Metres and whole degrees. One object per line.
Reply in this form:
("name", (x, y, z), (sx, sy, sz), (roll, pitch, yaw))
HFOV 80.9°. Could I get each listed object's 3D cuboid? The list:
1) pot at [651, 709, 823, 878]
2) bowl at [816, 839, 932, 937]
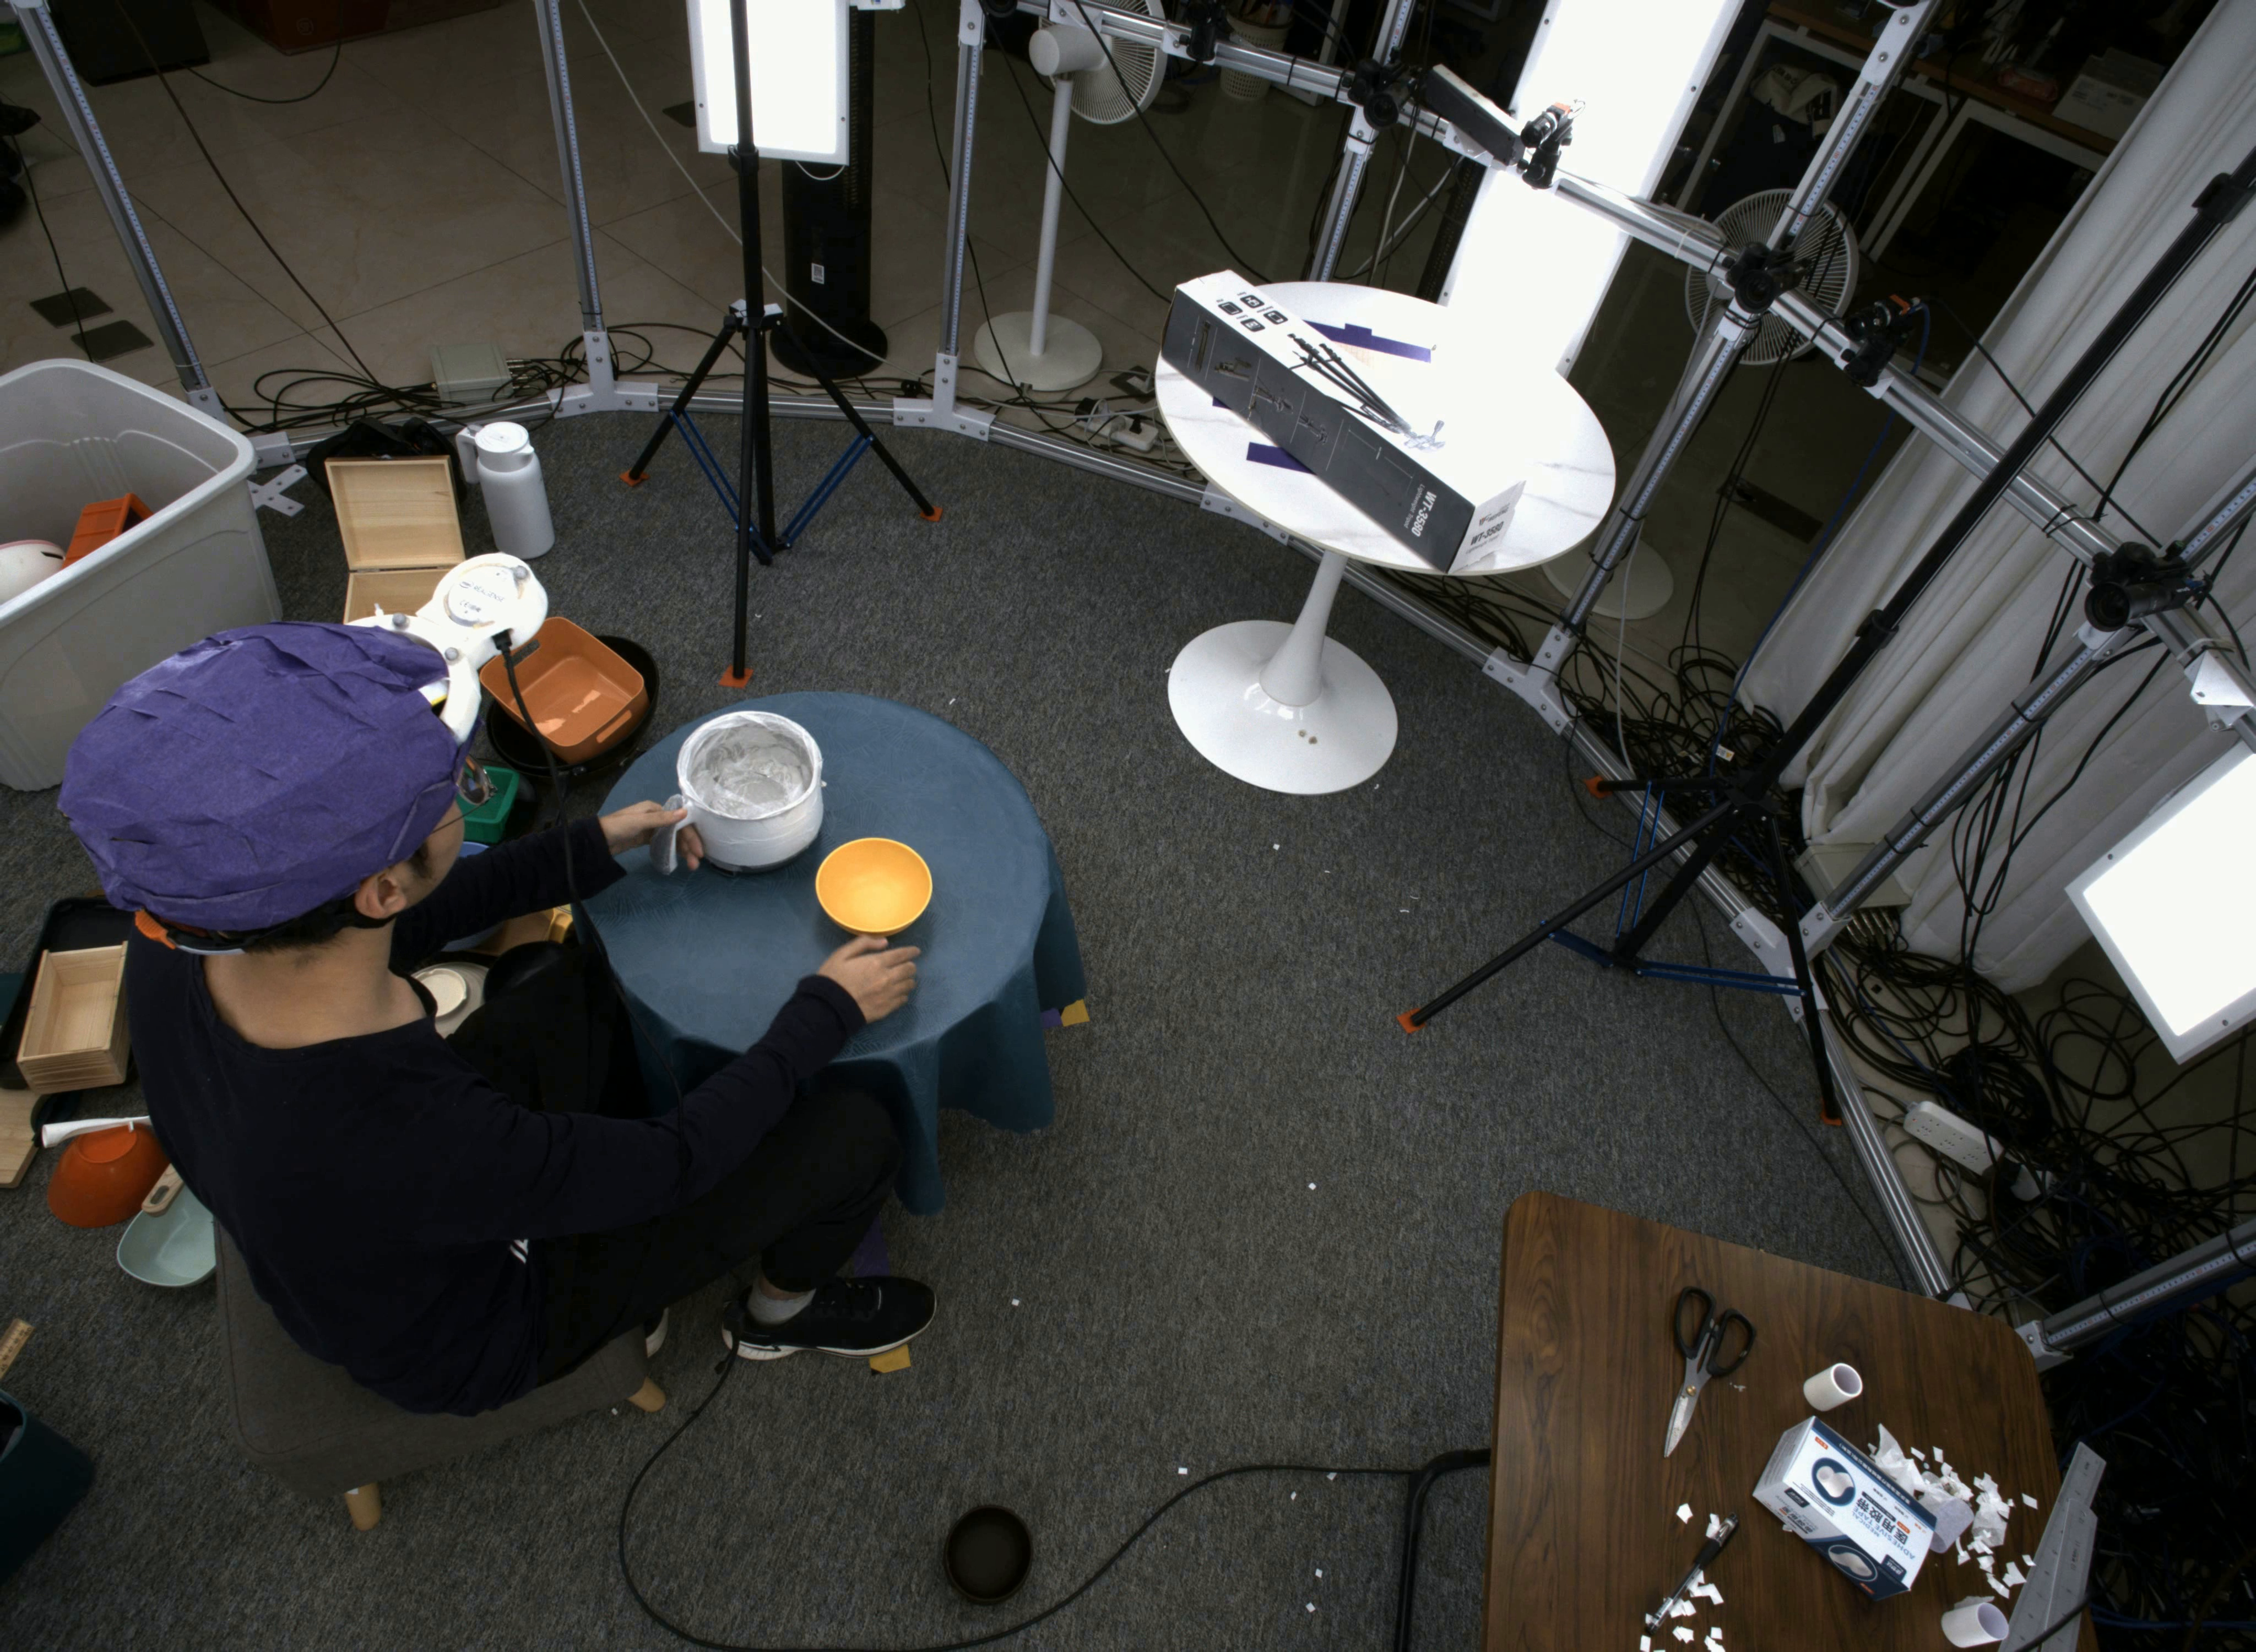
("pot", (-0.504, -0.027, 1.649), (0.234, 0.139, 0.174), (-34, 67, -30))
("bowl", (-0.323, 0.089, 1.655), (0.145, 0.061, 0.142), (8, 50, -8))
